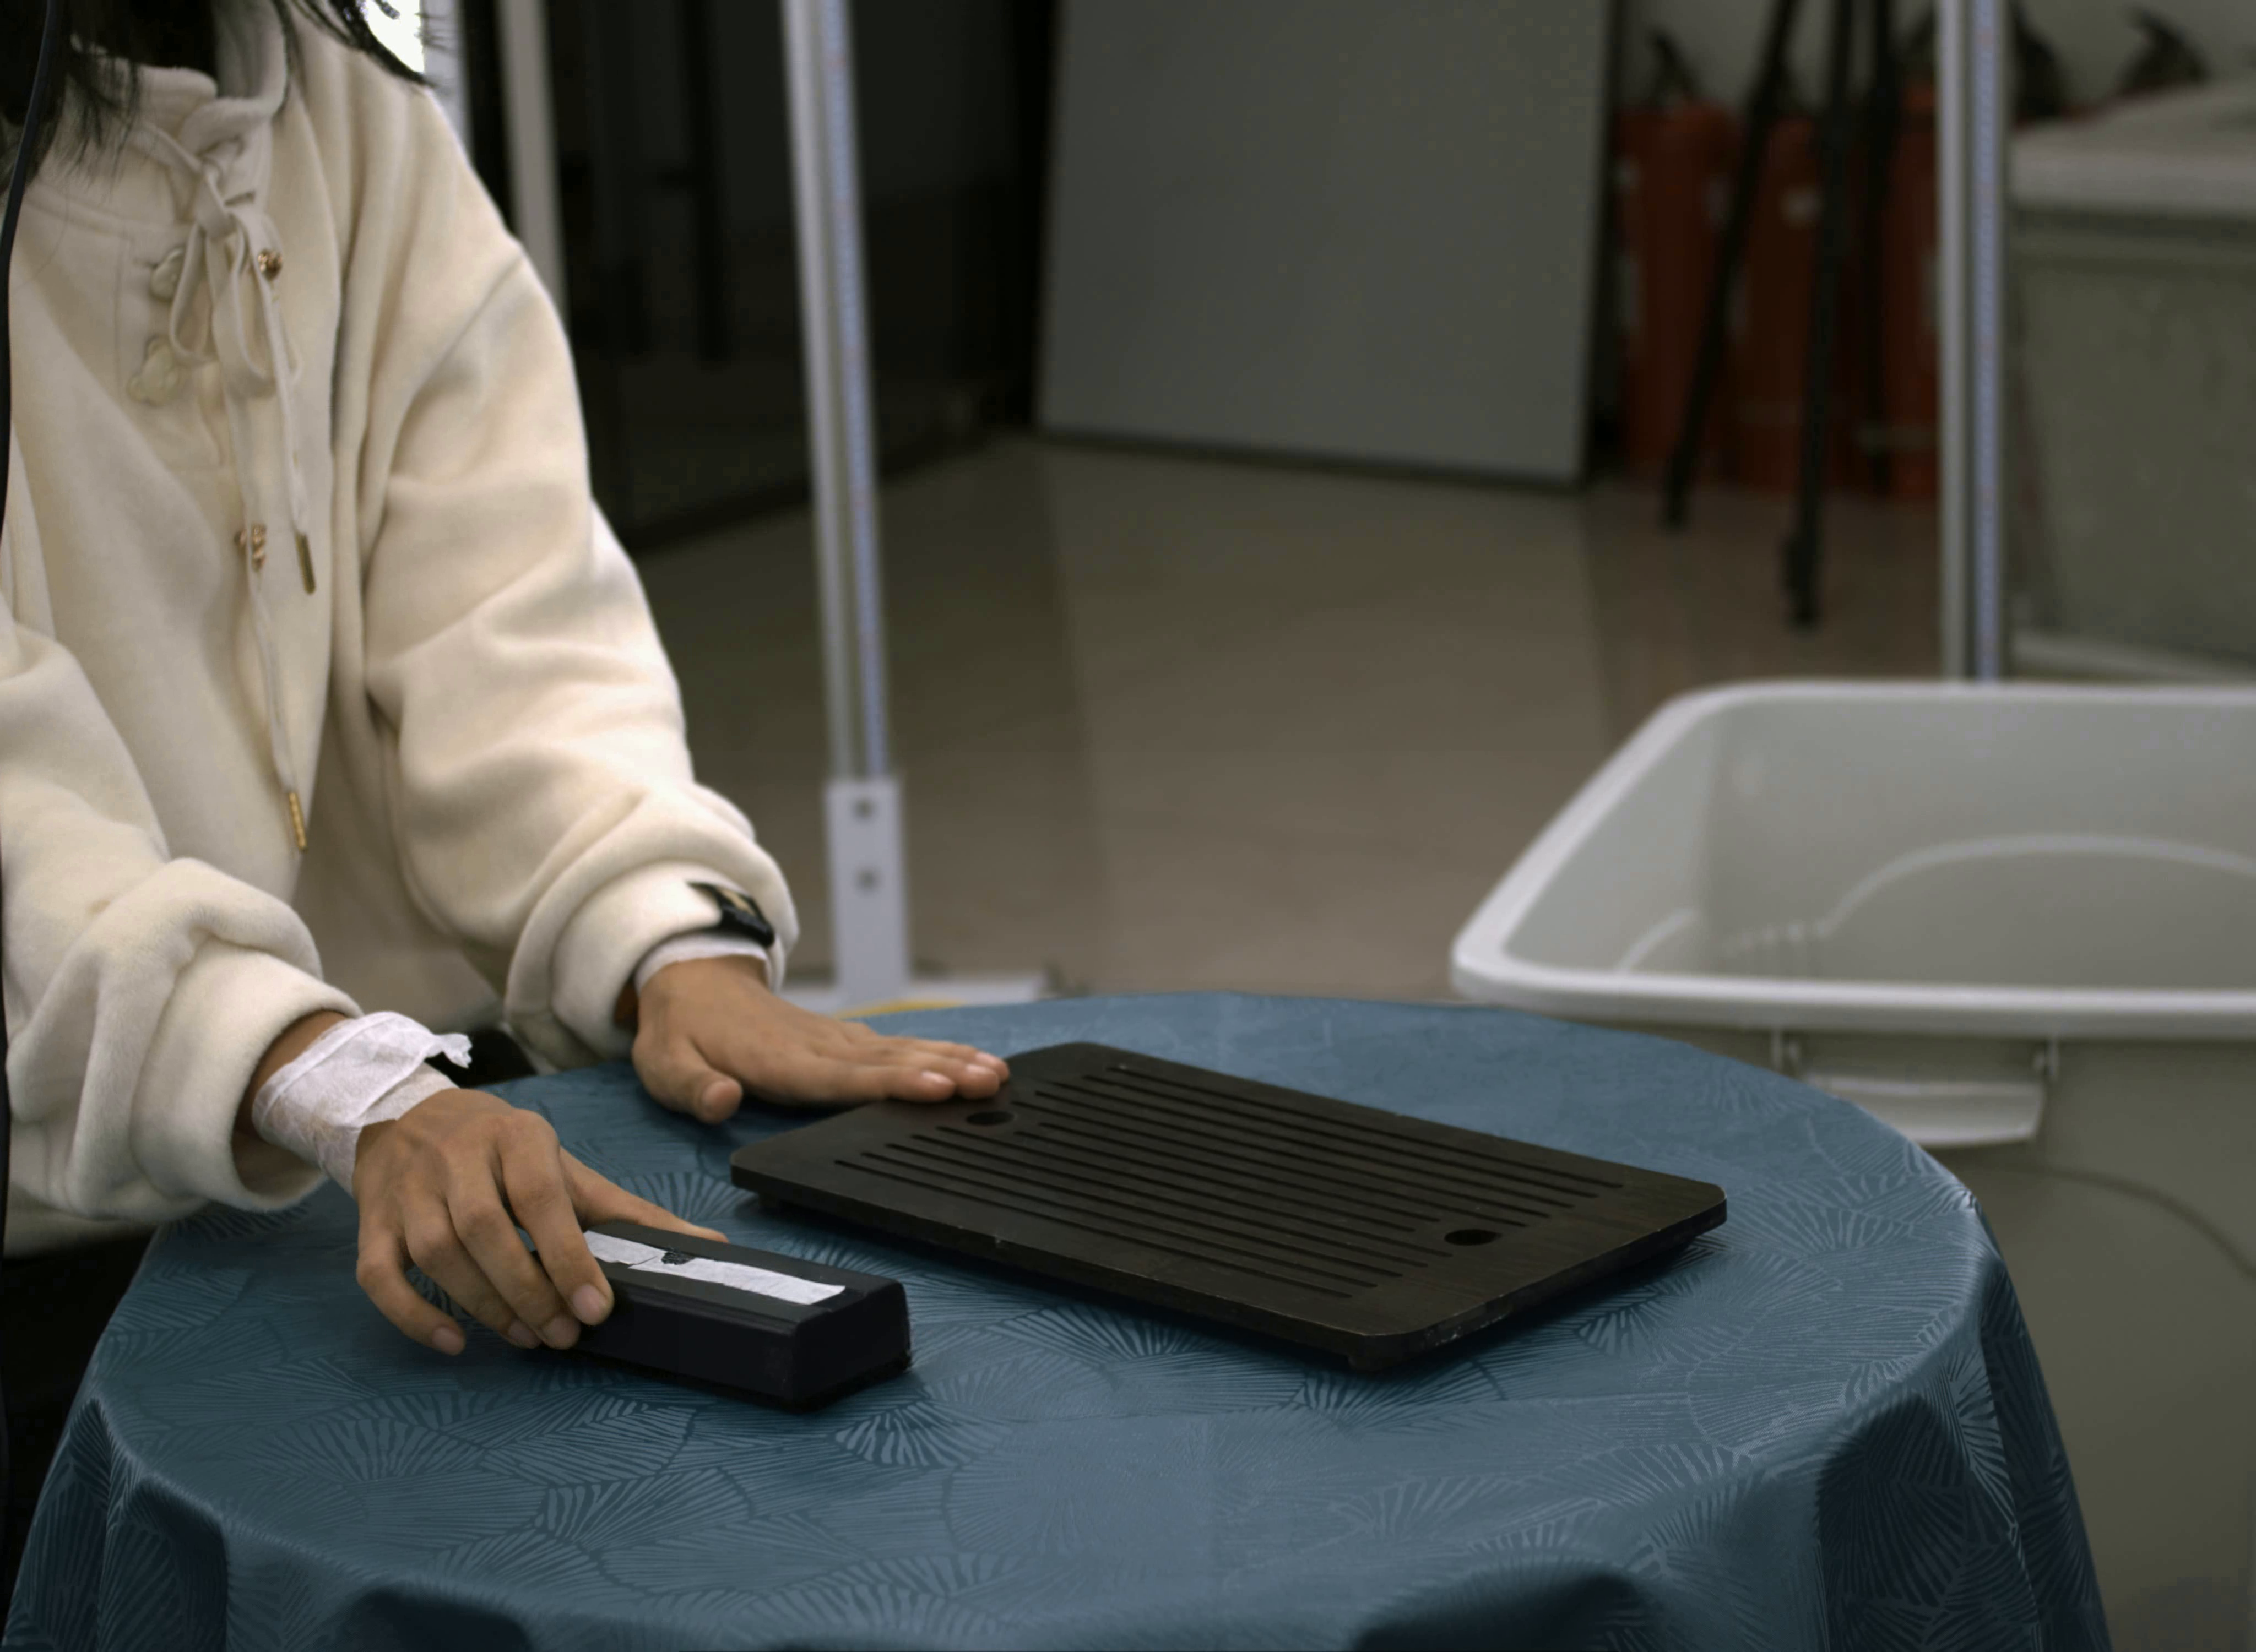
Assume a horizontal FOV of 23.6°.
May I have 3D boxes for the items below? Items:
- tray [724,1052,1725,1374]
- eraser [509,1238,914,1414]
[{"bbox_3d":[0.027,0.121,1.725,0.166,0.019,0.309,-17,19,-42],"label":"tray"},{"bbox_3d":[-0.125,0.150,1.634,0.126,0.031,0.052,6,14,40],"label":"eraser"}]
